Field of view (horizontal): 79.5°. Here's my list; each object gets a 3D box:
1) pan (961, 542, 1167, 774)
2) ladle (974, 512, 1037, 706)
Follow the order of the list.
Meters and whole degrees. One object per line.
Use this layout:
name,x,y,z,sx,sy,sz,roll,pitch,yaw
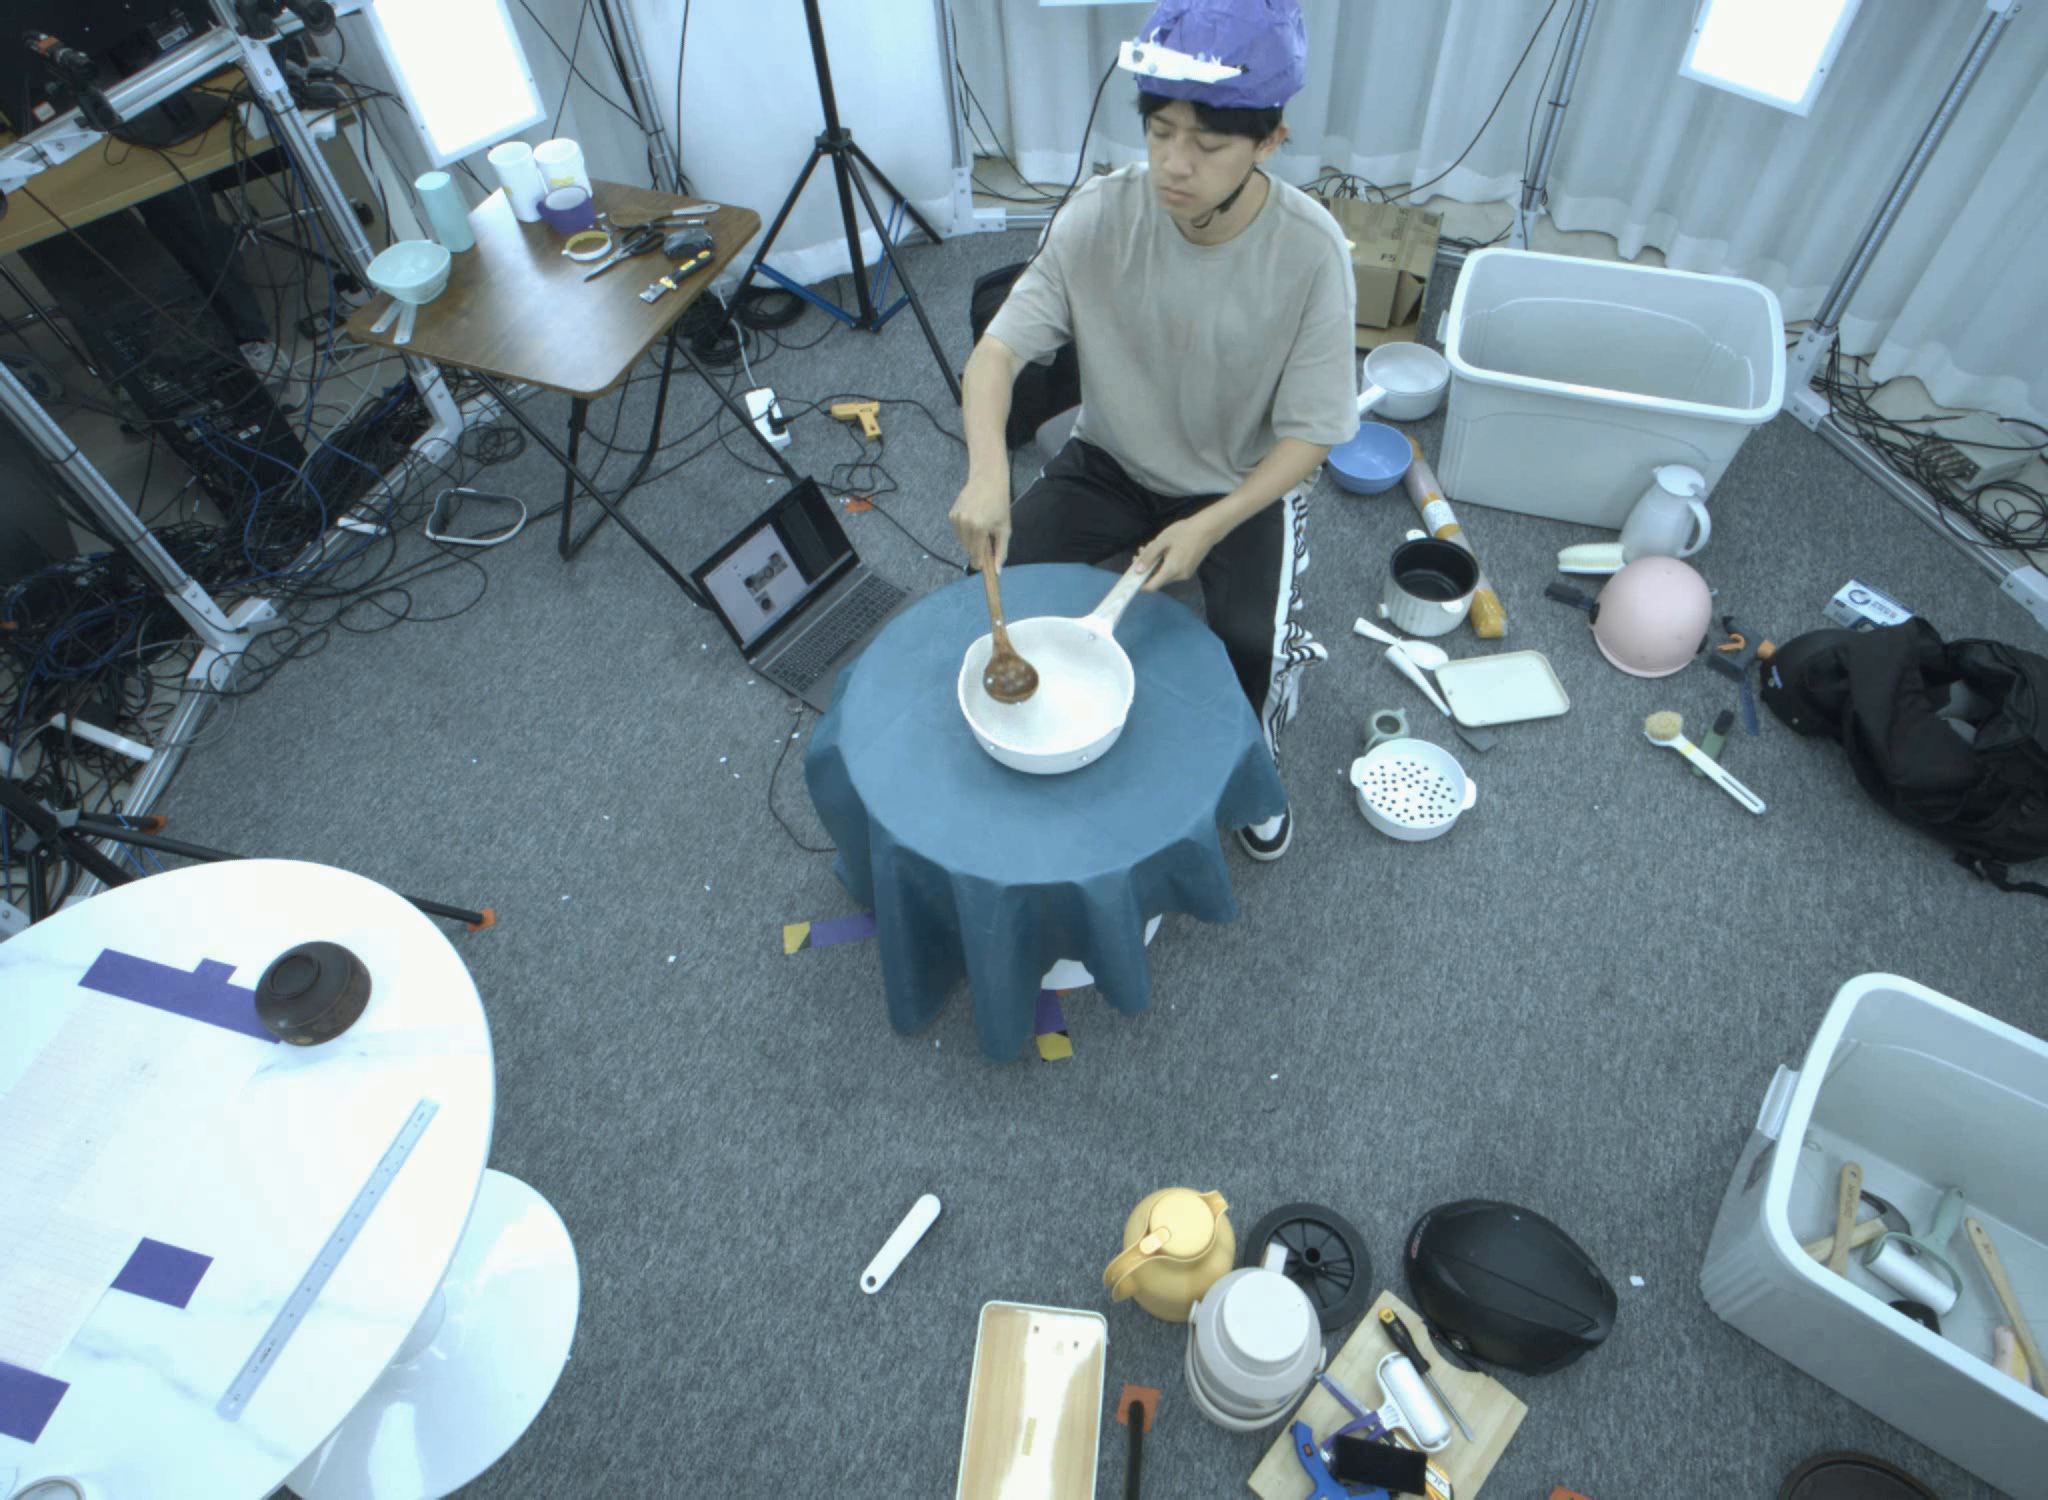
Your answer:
pan,0.091,-0.139,1.818,0.259,0.103,0.437,28,60,22
ladle,-0.037,-0.198,1.732,0.083,0.276,0.075,-12,15,-16
